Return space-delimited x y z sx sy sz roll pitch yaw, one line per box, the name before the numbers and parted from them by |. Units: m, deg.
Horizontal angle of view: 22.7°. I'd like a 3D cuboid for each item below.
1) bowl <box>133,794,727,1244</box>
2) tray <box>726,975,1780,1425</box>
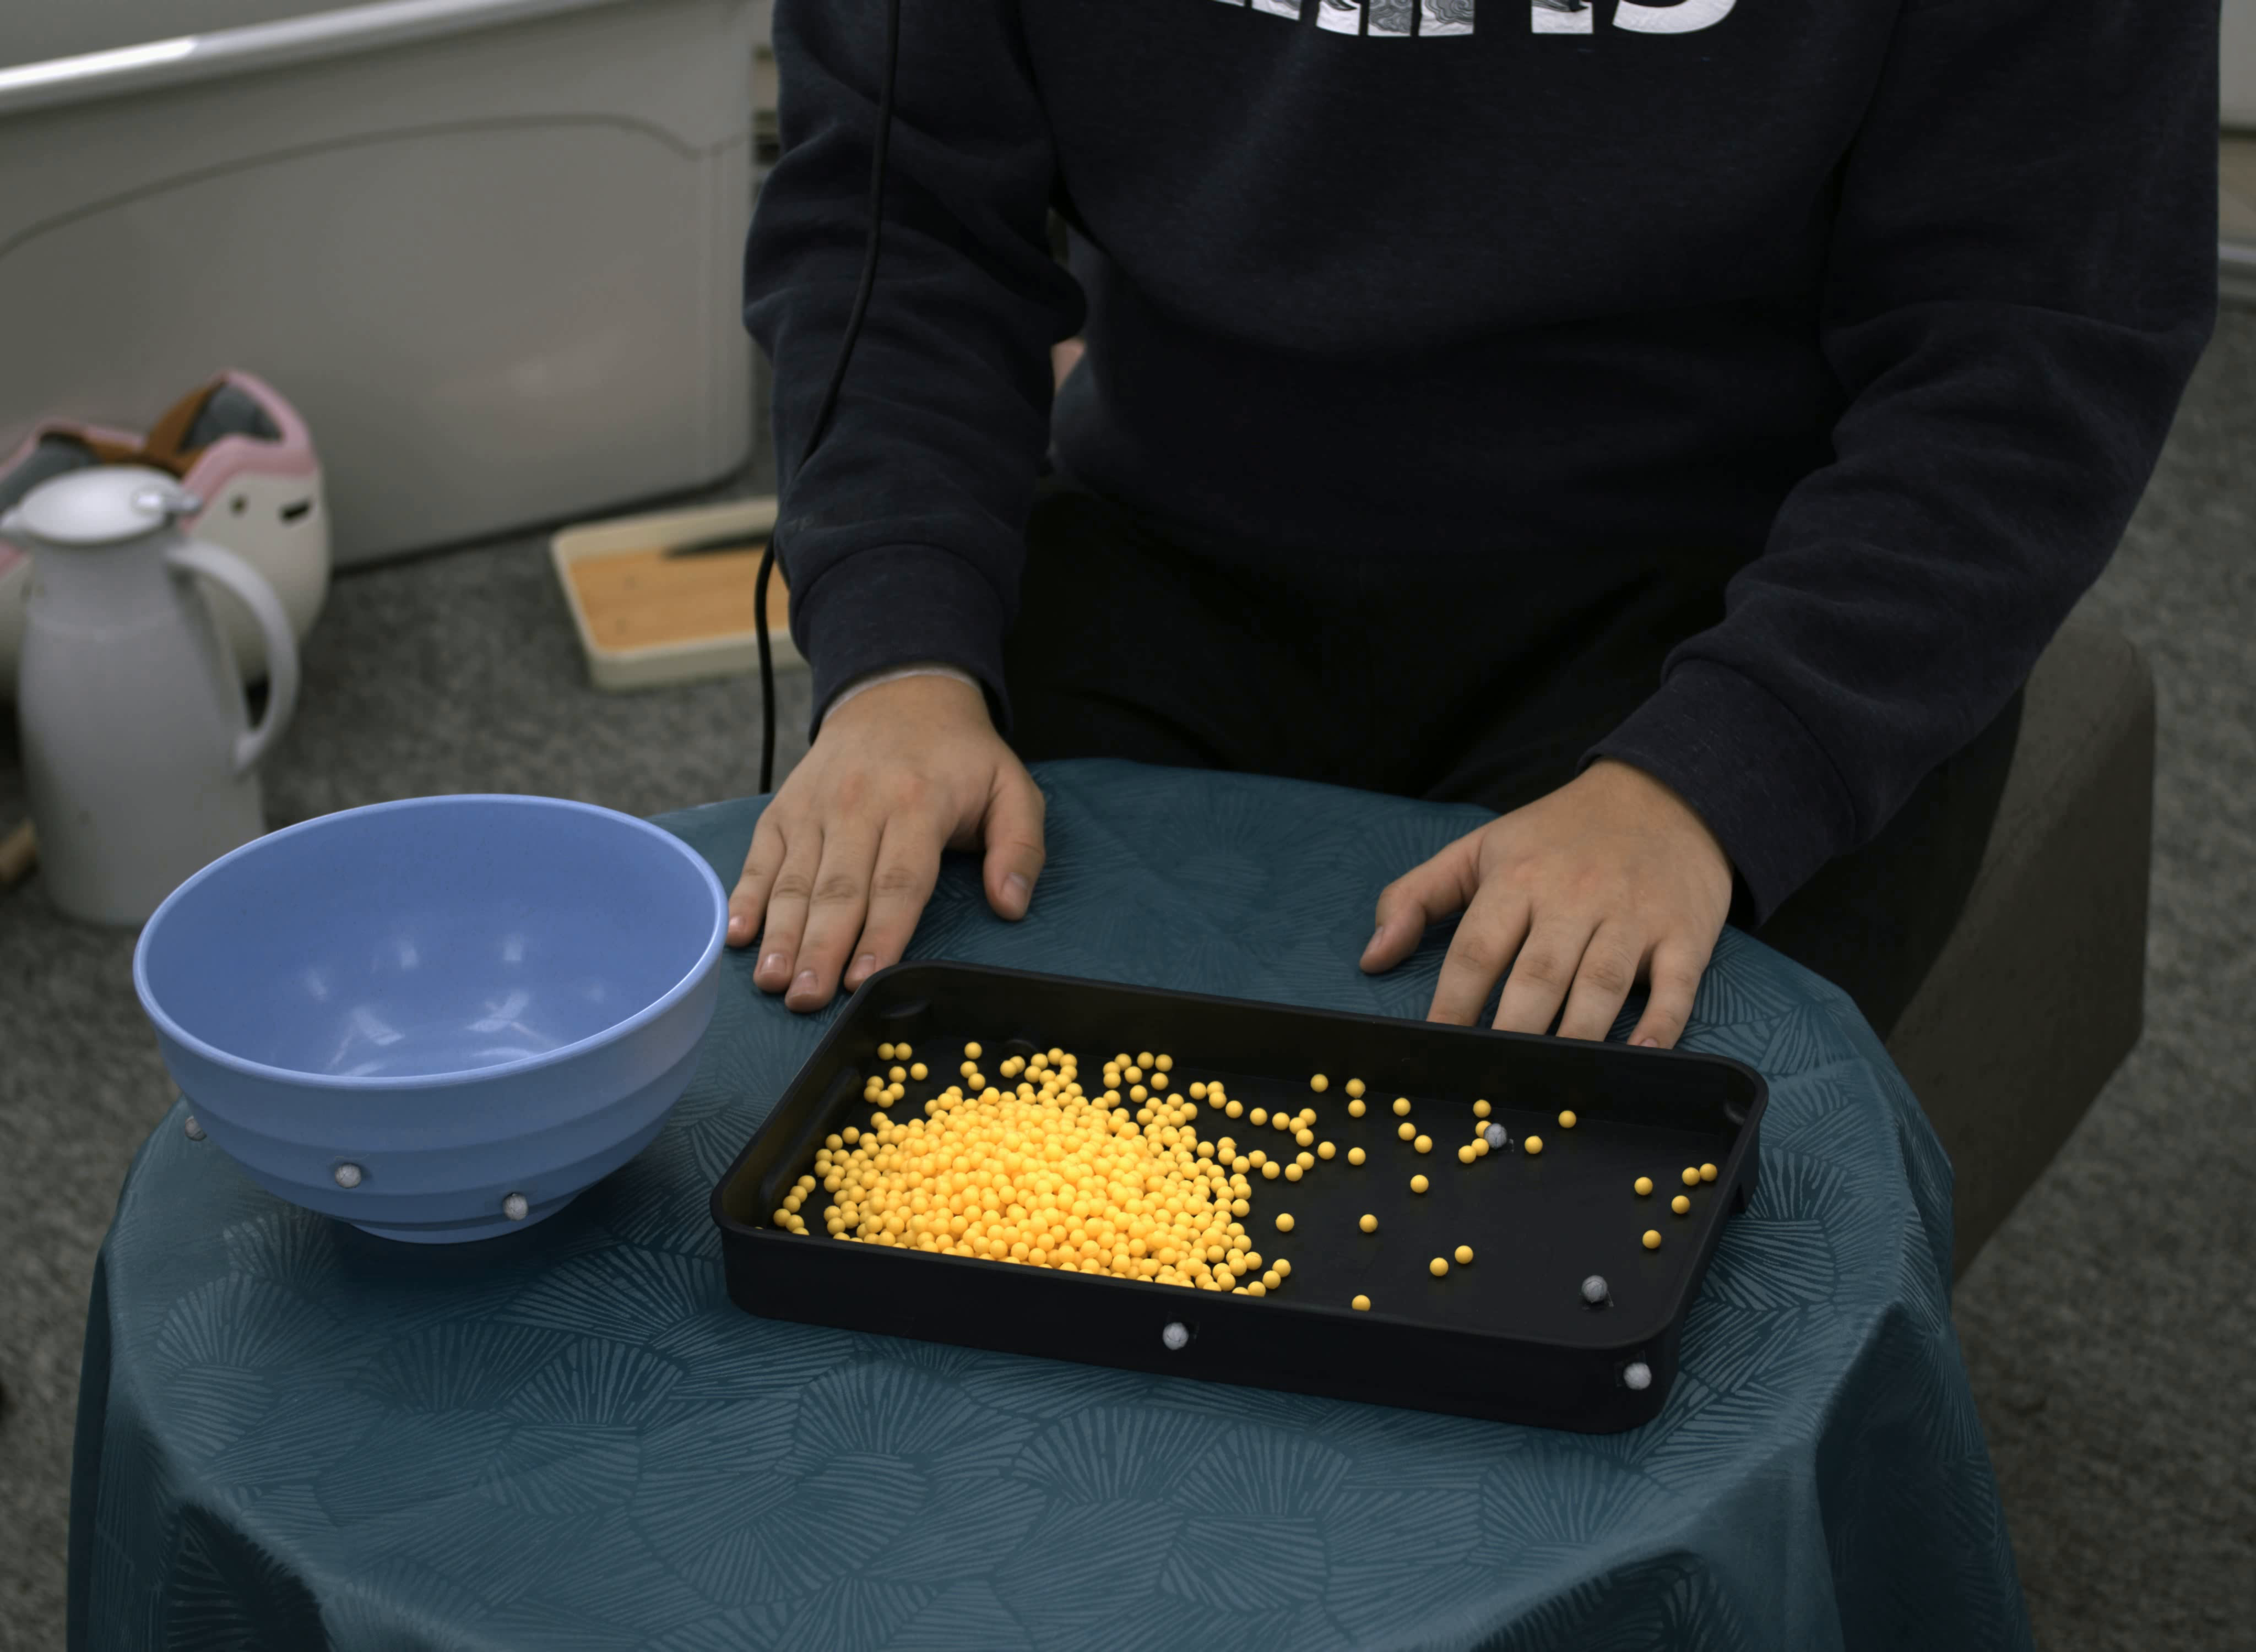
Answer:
bowl | -0.226 0.075 1.871 0.195 0.094 0.199 -3 27 2
tray | 0.043 0.119 1.831 0.316 0.036 0.187 5 28 16
